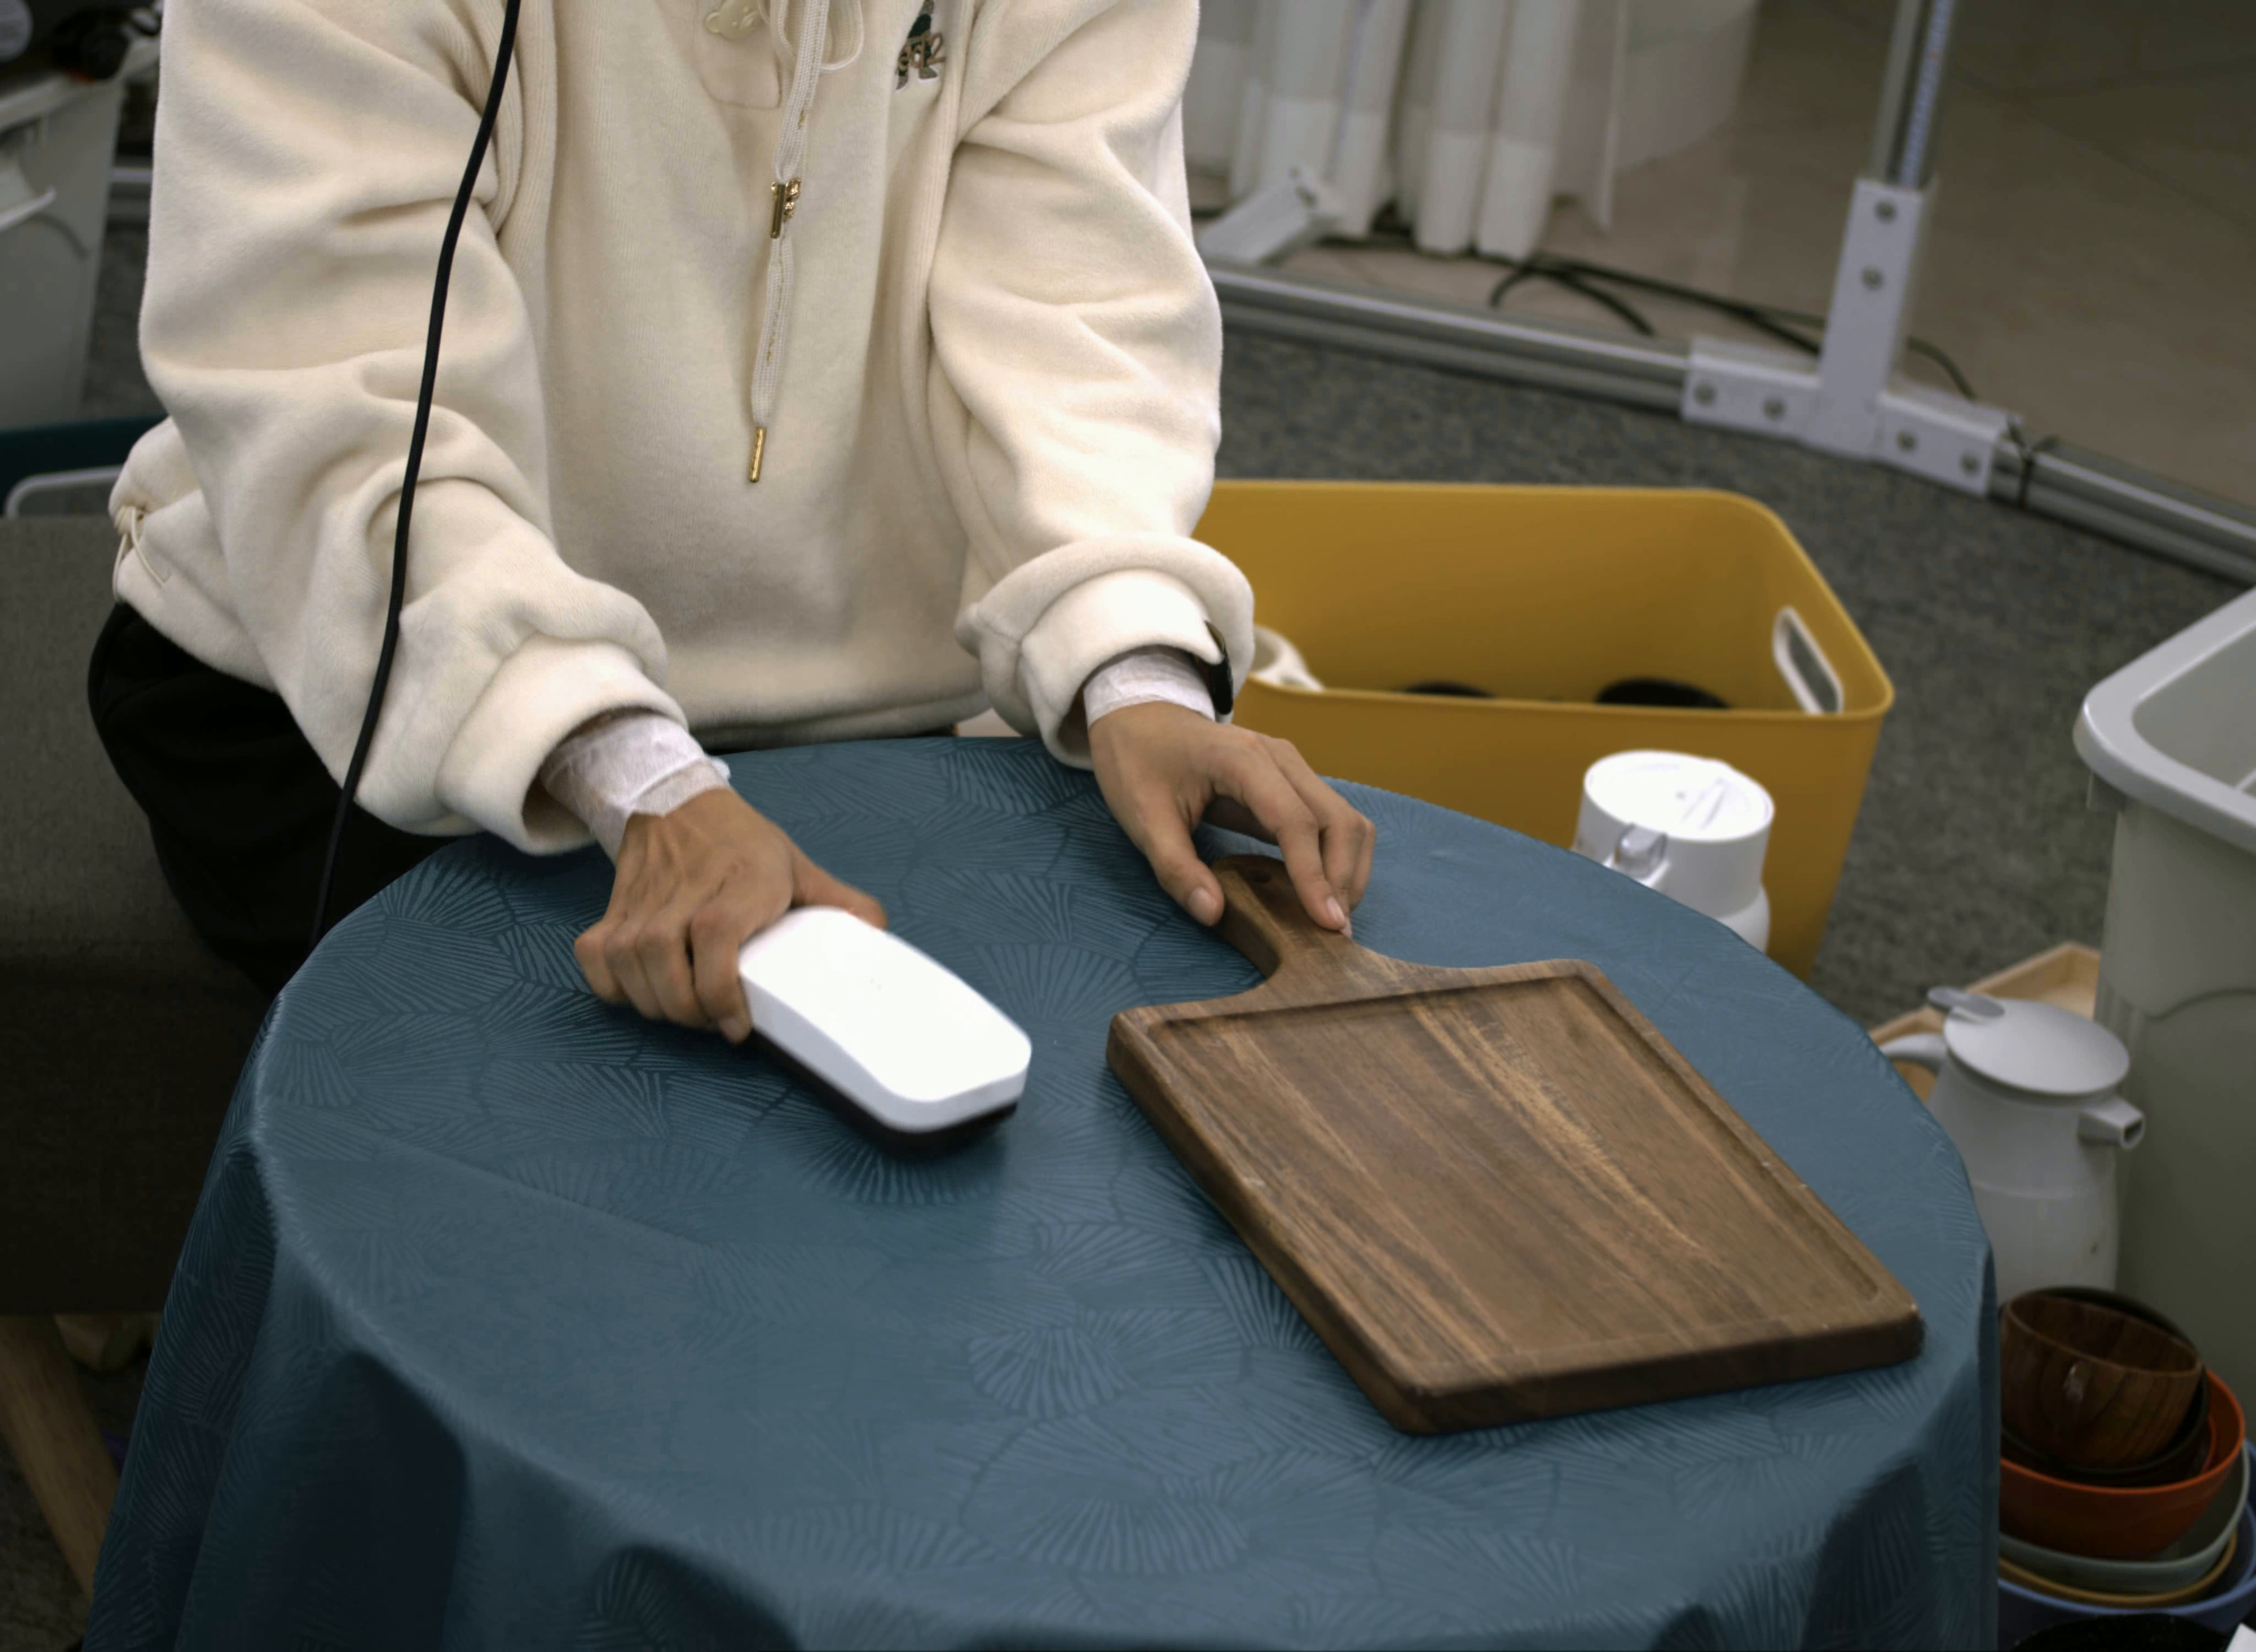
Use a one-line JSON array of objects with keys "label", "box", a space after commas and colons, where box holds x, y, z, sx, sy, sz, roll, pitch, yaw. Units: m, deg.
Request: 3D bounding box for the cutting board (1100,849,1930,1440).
[{"label": "cutting board", "box": [0.108, 0.098, 1.853, 0.200, 0.023, 0.355, -6, 30, -24]}]

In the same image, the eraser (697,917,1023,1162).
[{"label": "eraser", "box": [-0.093, 0.070, 1.841, 0.063, 0.034, 0.132, -15, 34, -35]}]
